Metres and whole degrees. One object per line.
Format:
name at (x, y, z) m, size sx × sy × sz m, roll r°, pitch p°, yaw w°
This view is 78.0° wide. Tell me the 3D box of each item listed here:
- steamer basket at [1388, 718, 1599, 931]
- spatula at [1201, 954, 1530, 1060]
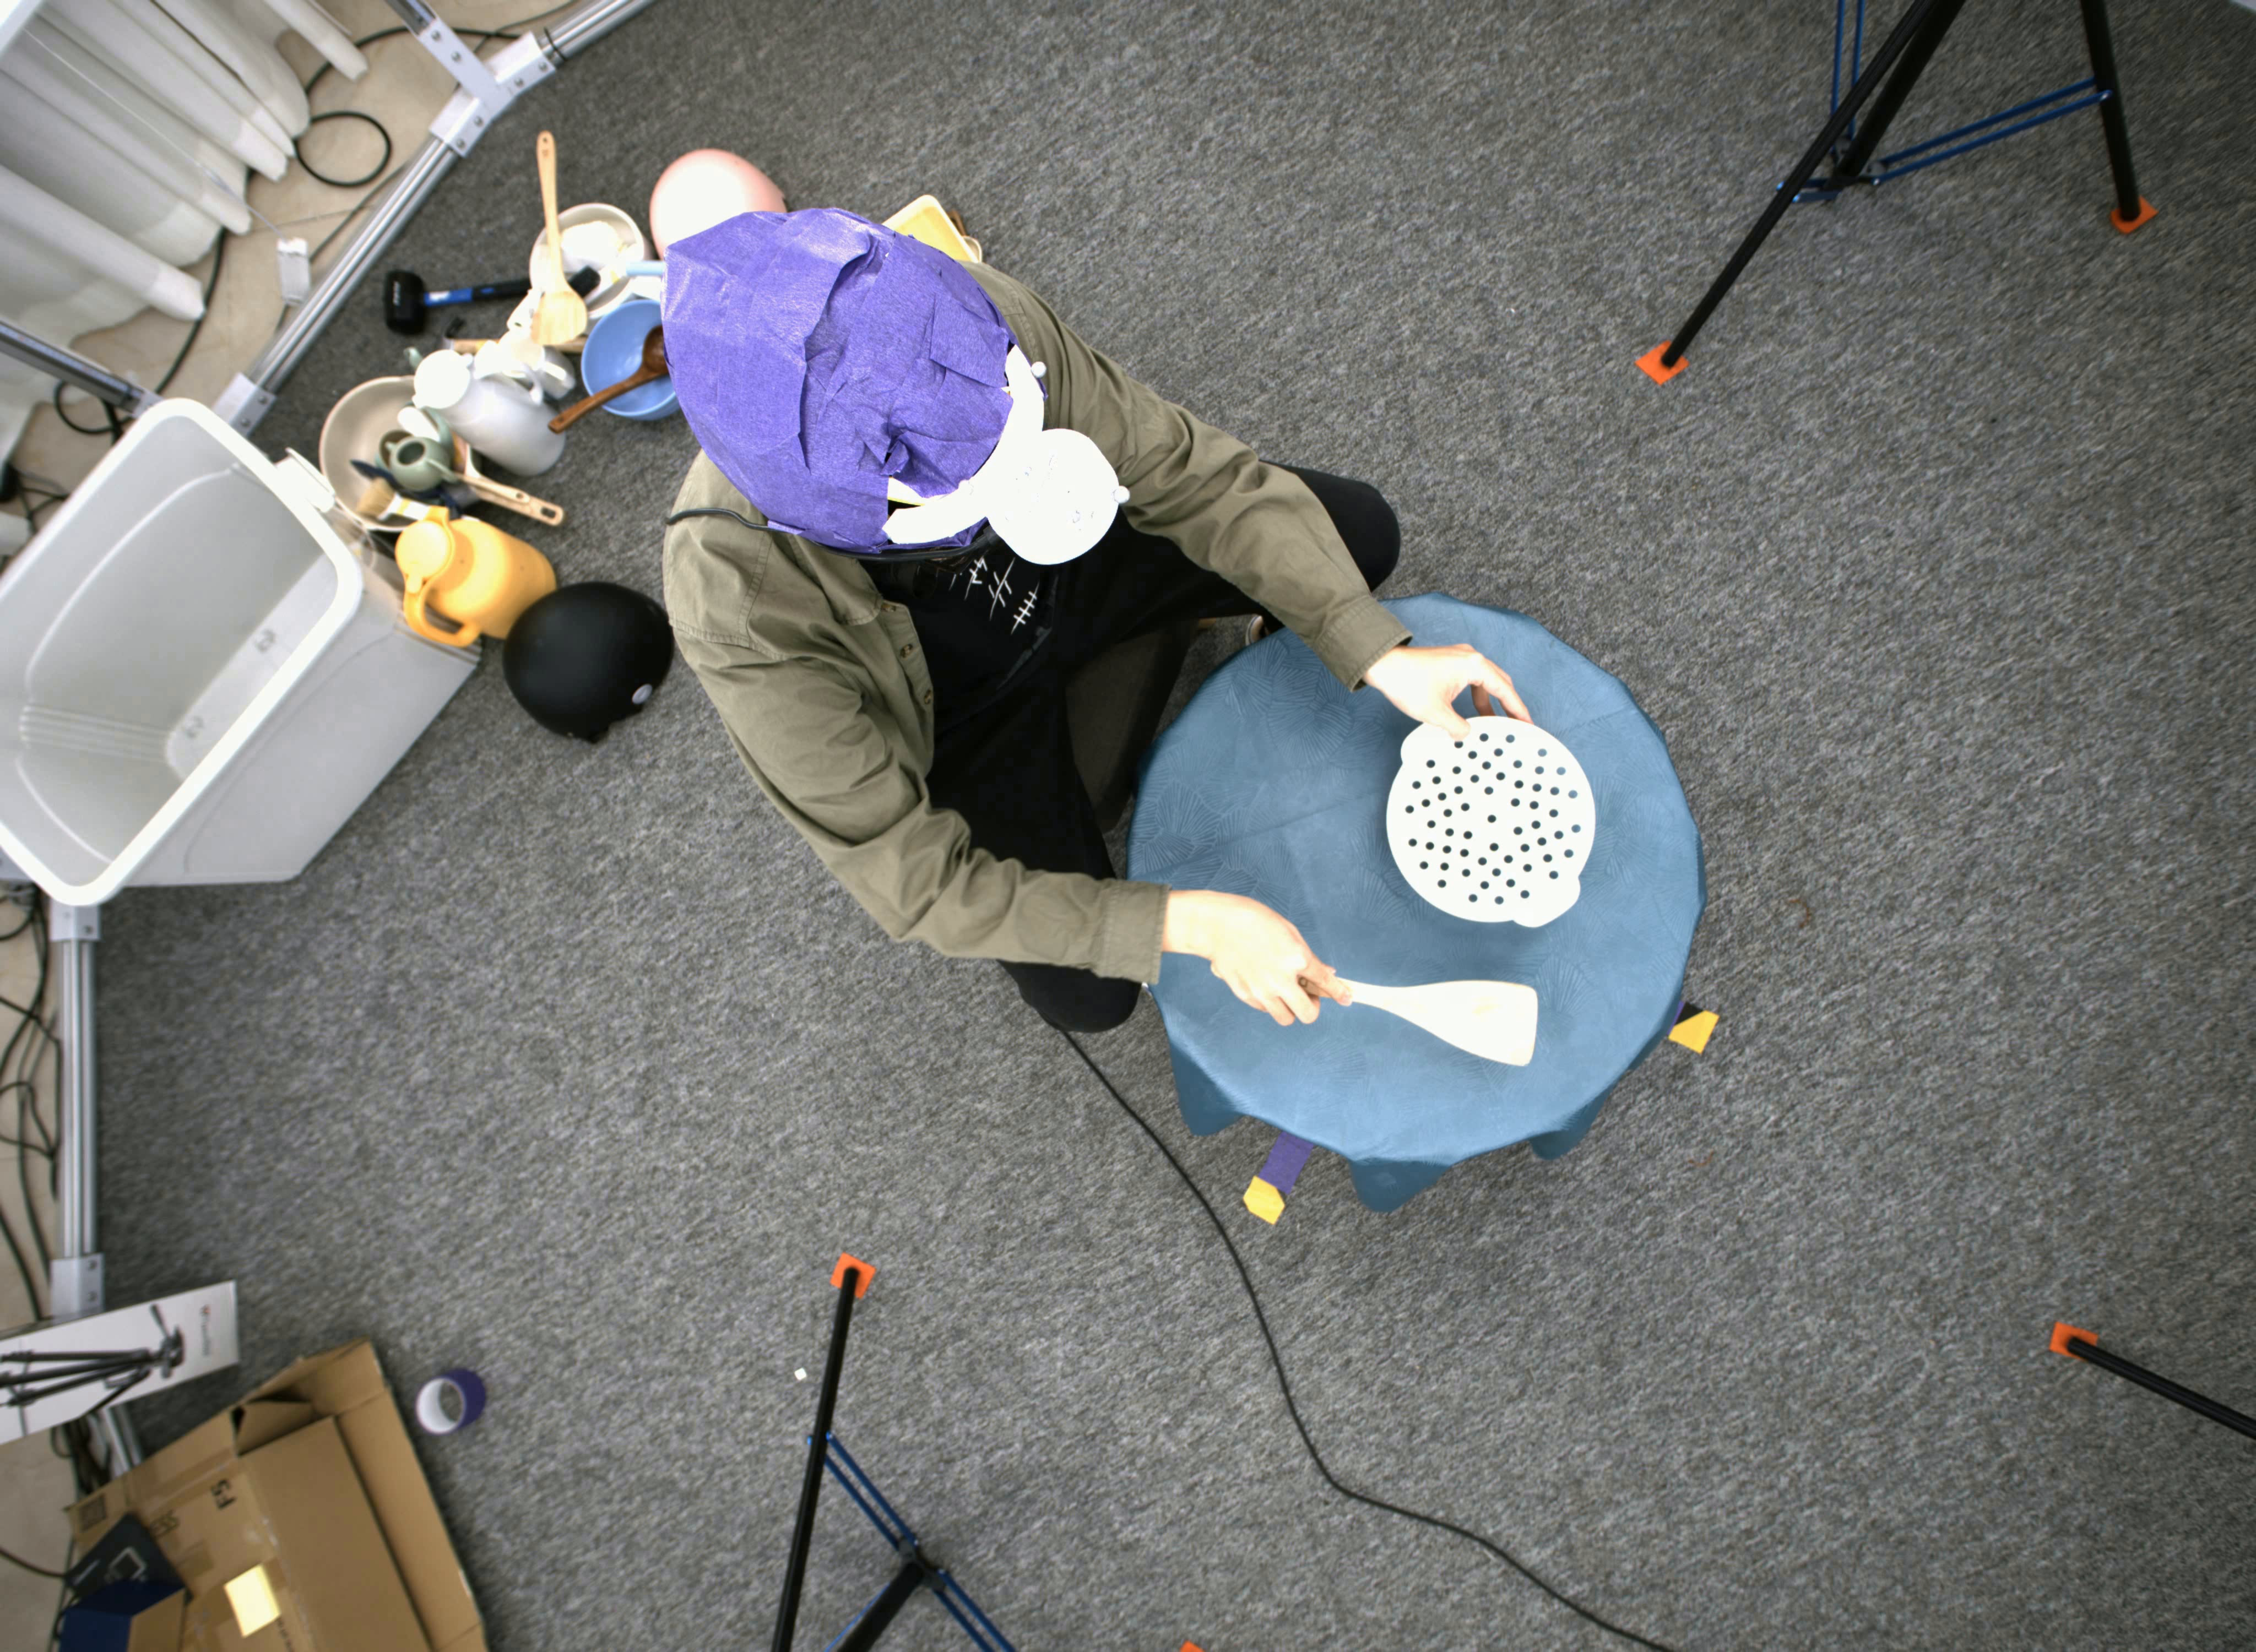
steamer basket at (0.363, -0.004, 1.369) m, size 0.204 × 0.069 × 0.229 m, roll -37°, pitch 83°, yaw 15°
spatula at (0.231, 0.159, 1.321) m, size 0.328 × 0.016 × 0.081 m, roll 10°, pitch 105°, yaw -5°
